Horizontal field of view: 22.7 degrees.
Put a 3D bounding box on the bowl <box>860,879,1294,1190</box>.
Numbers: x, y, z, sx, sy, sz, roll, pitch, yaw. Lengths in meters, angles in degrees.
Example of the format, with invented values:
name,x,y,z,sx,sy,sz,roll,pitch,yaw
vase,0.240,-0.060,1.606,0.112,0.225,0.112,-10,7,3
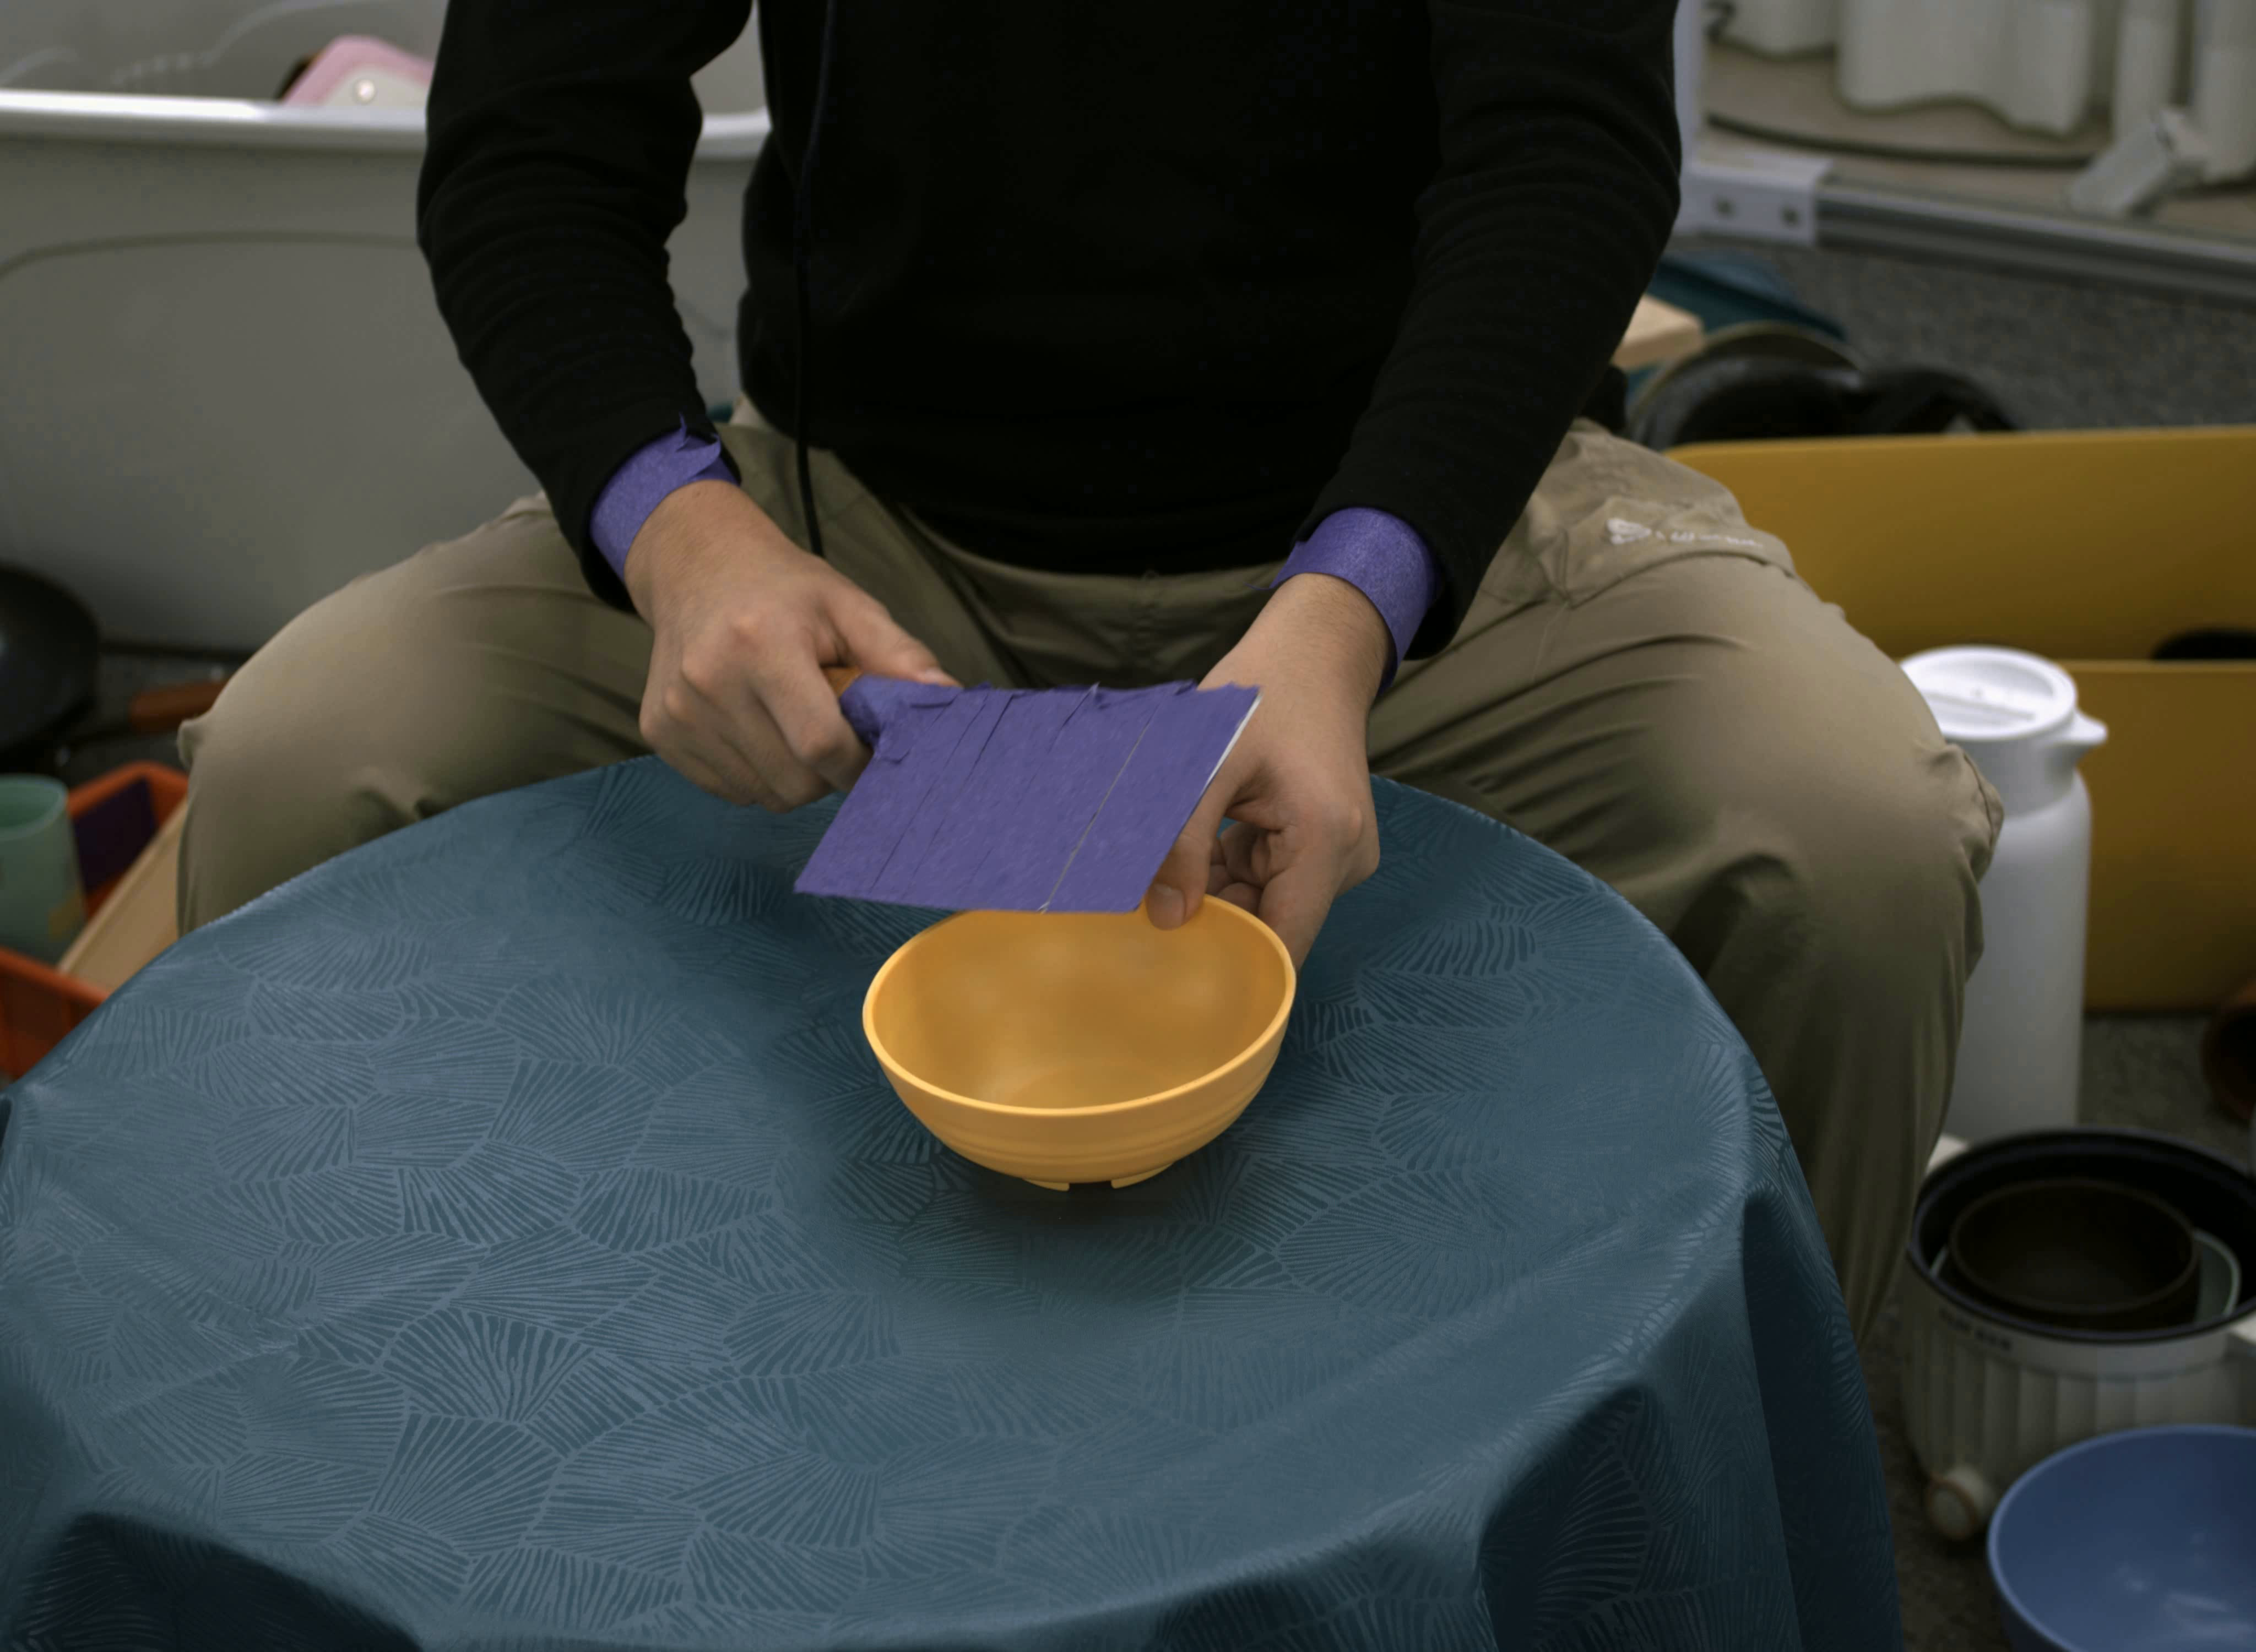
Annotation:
name,x,y,z,sx,sy,sz,roll,pitch,yaw
bowl,-0.015,0.079,1.874,0.144,0.059,0.148,-2,30,2

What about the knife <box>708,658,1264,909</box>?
name,x,y,z,sx,sy,sz,roll,pitch,yaw
knife,-0.070,-0.014,1.927,0.312,0.032,0.105,-2,51,56
